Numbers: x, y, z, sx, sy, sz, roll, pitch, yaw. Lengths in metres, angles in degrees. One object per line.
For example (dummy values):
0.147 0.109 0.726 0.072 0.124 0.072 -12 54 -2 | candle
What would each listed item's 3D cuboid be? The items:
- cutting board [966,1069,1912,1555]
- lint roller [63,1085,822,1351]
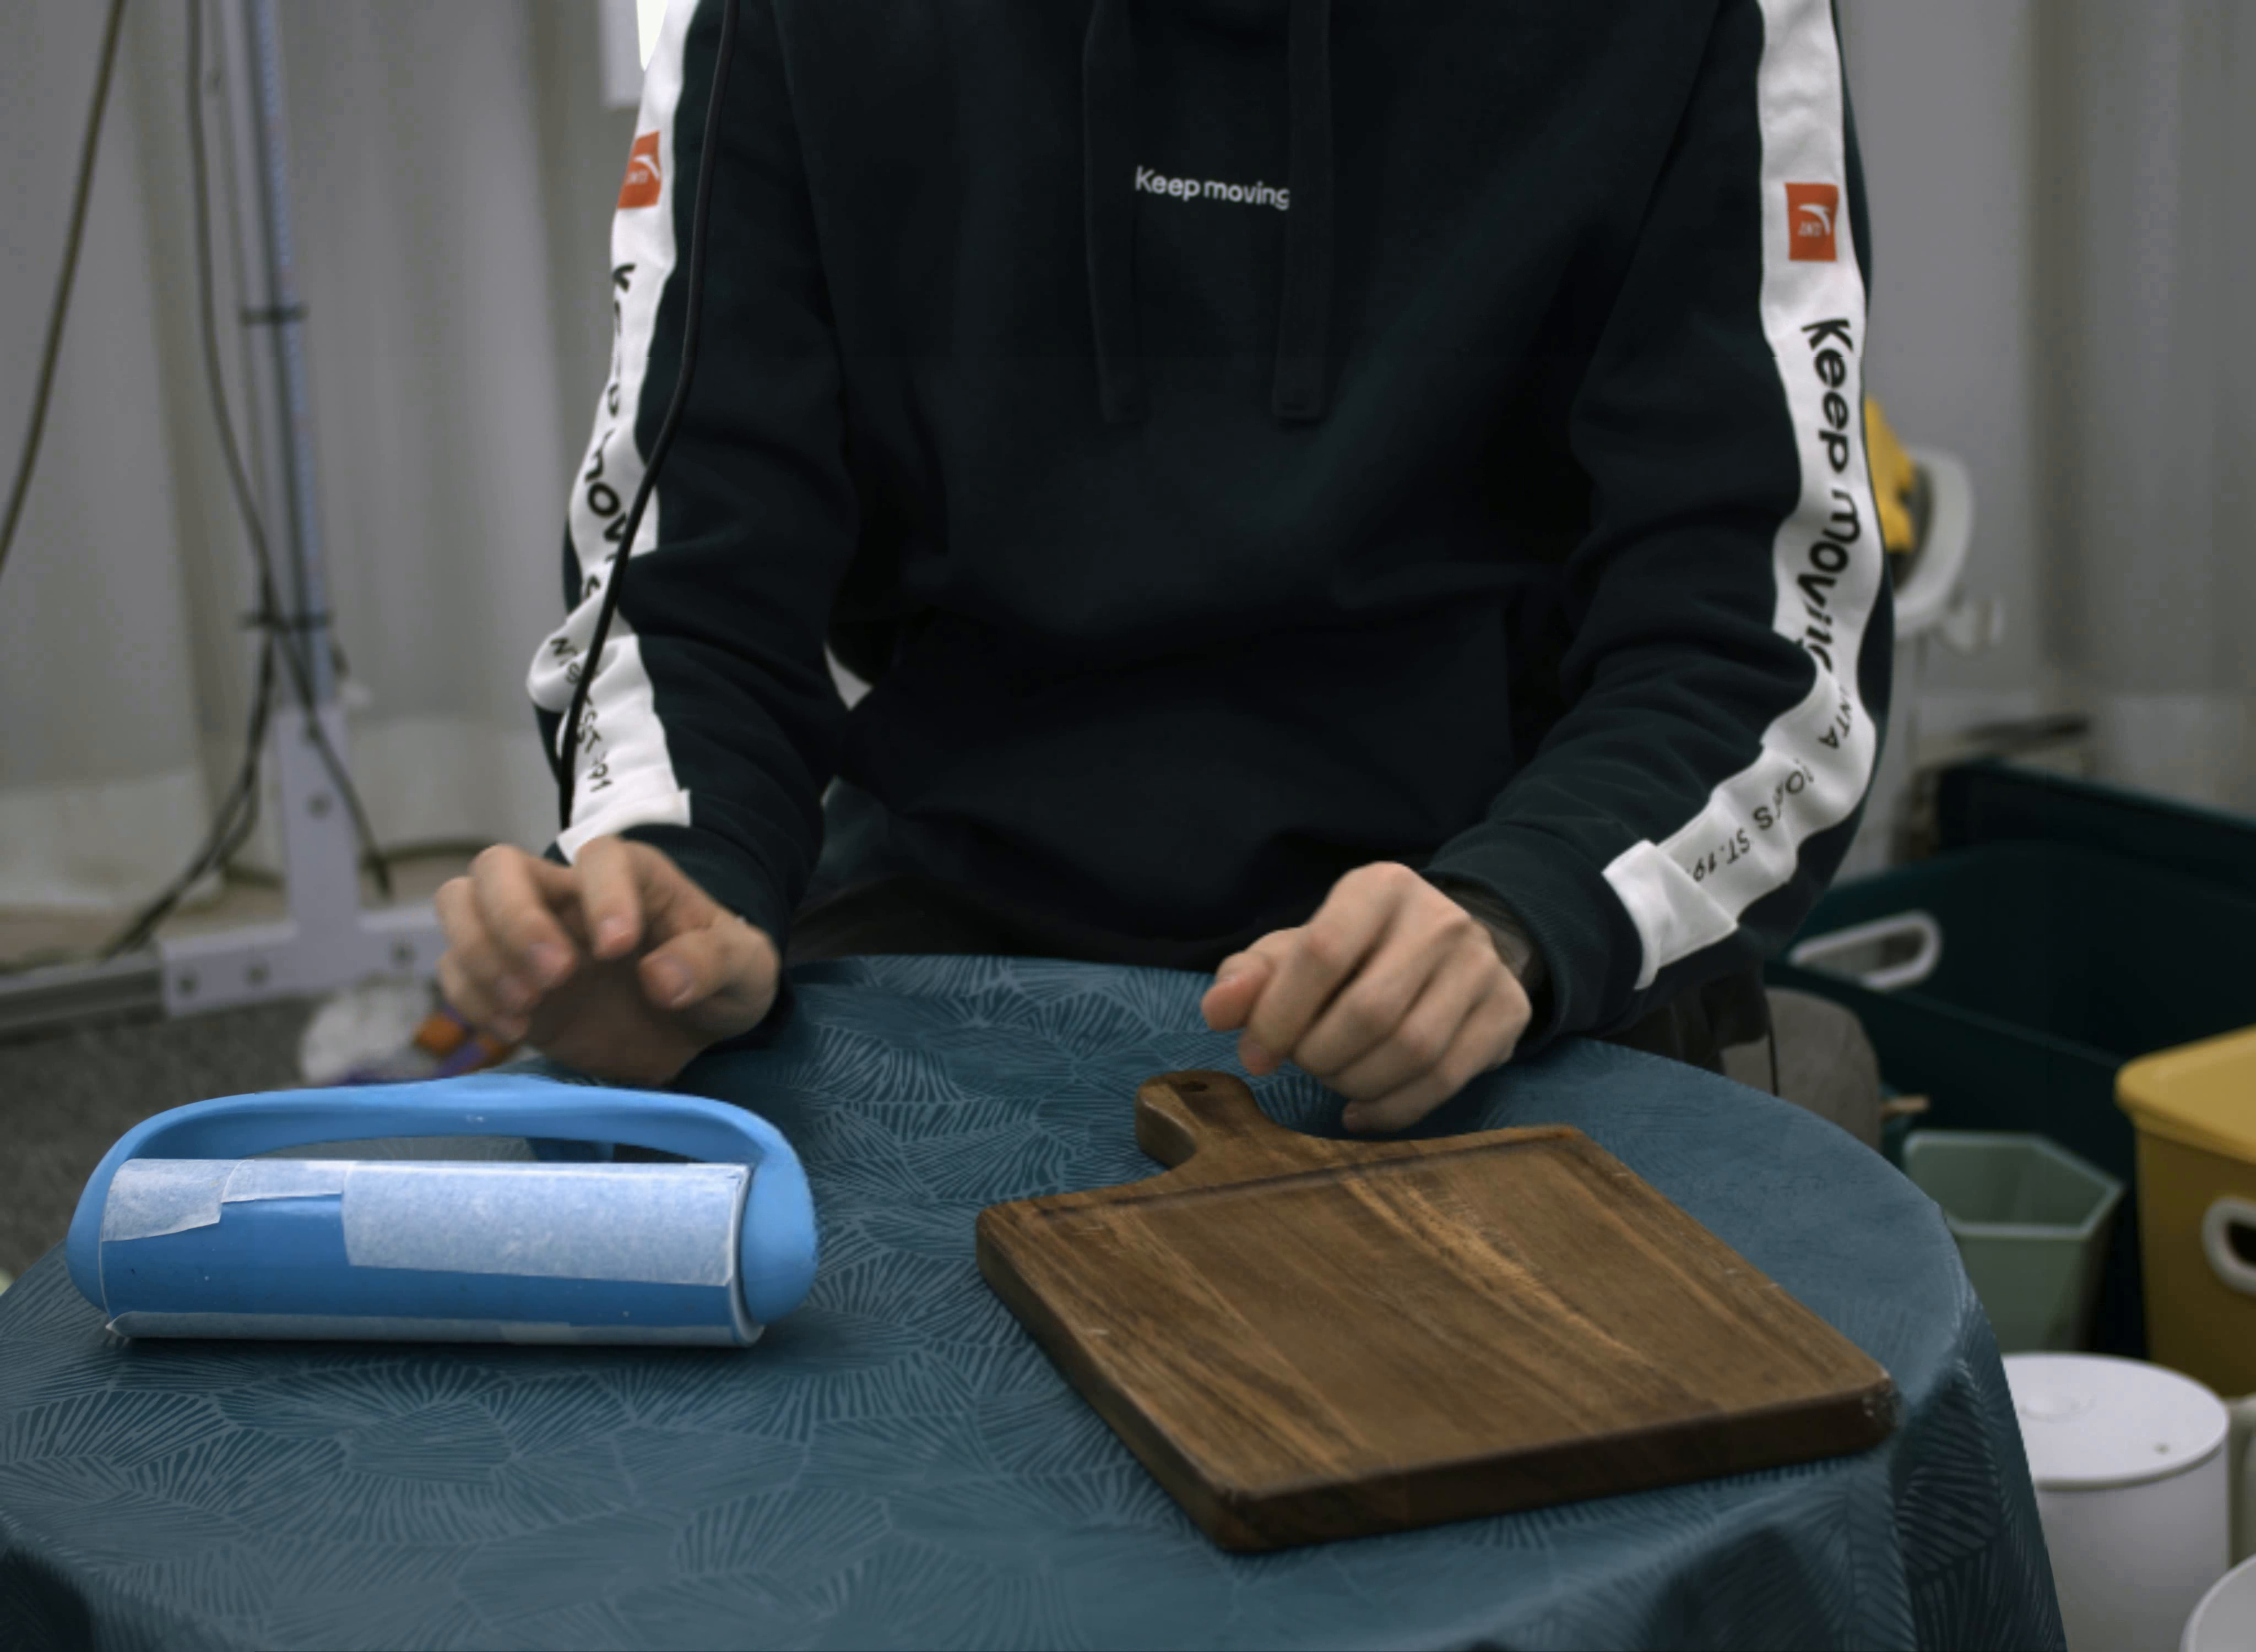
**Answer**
0.067 0.129 1.604 0.200 0.023 0.355 -7 16 -16 | cutting board
-0.195 0.109 1.665 0.228 0.067 0.181 -2 16 8 | lint roller
